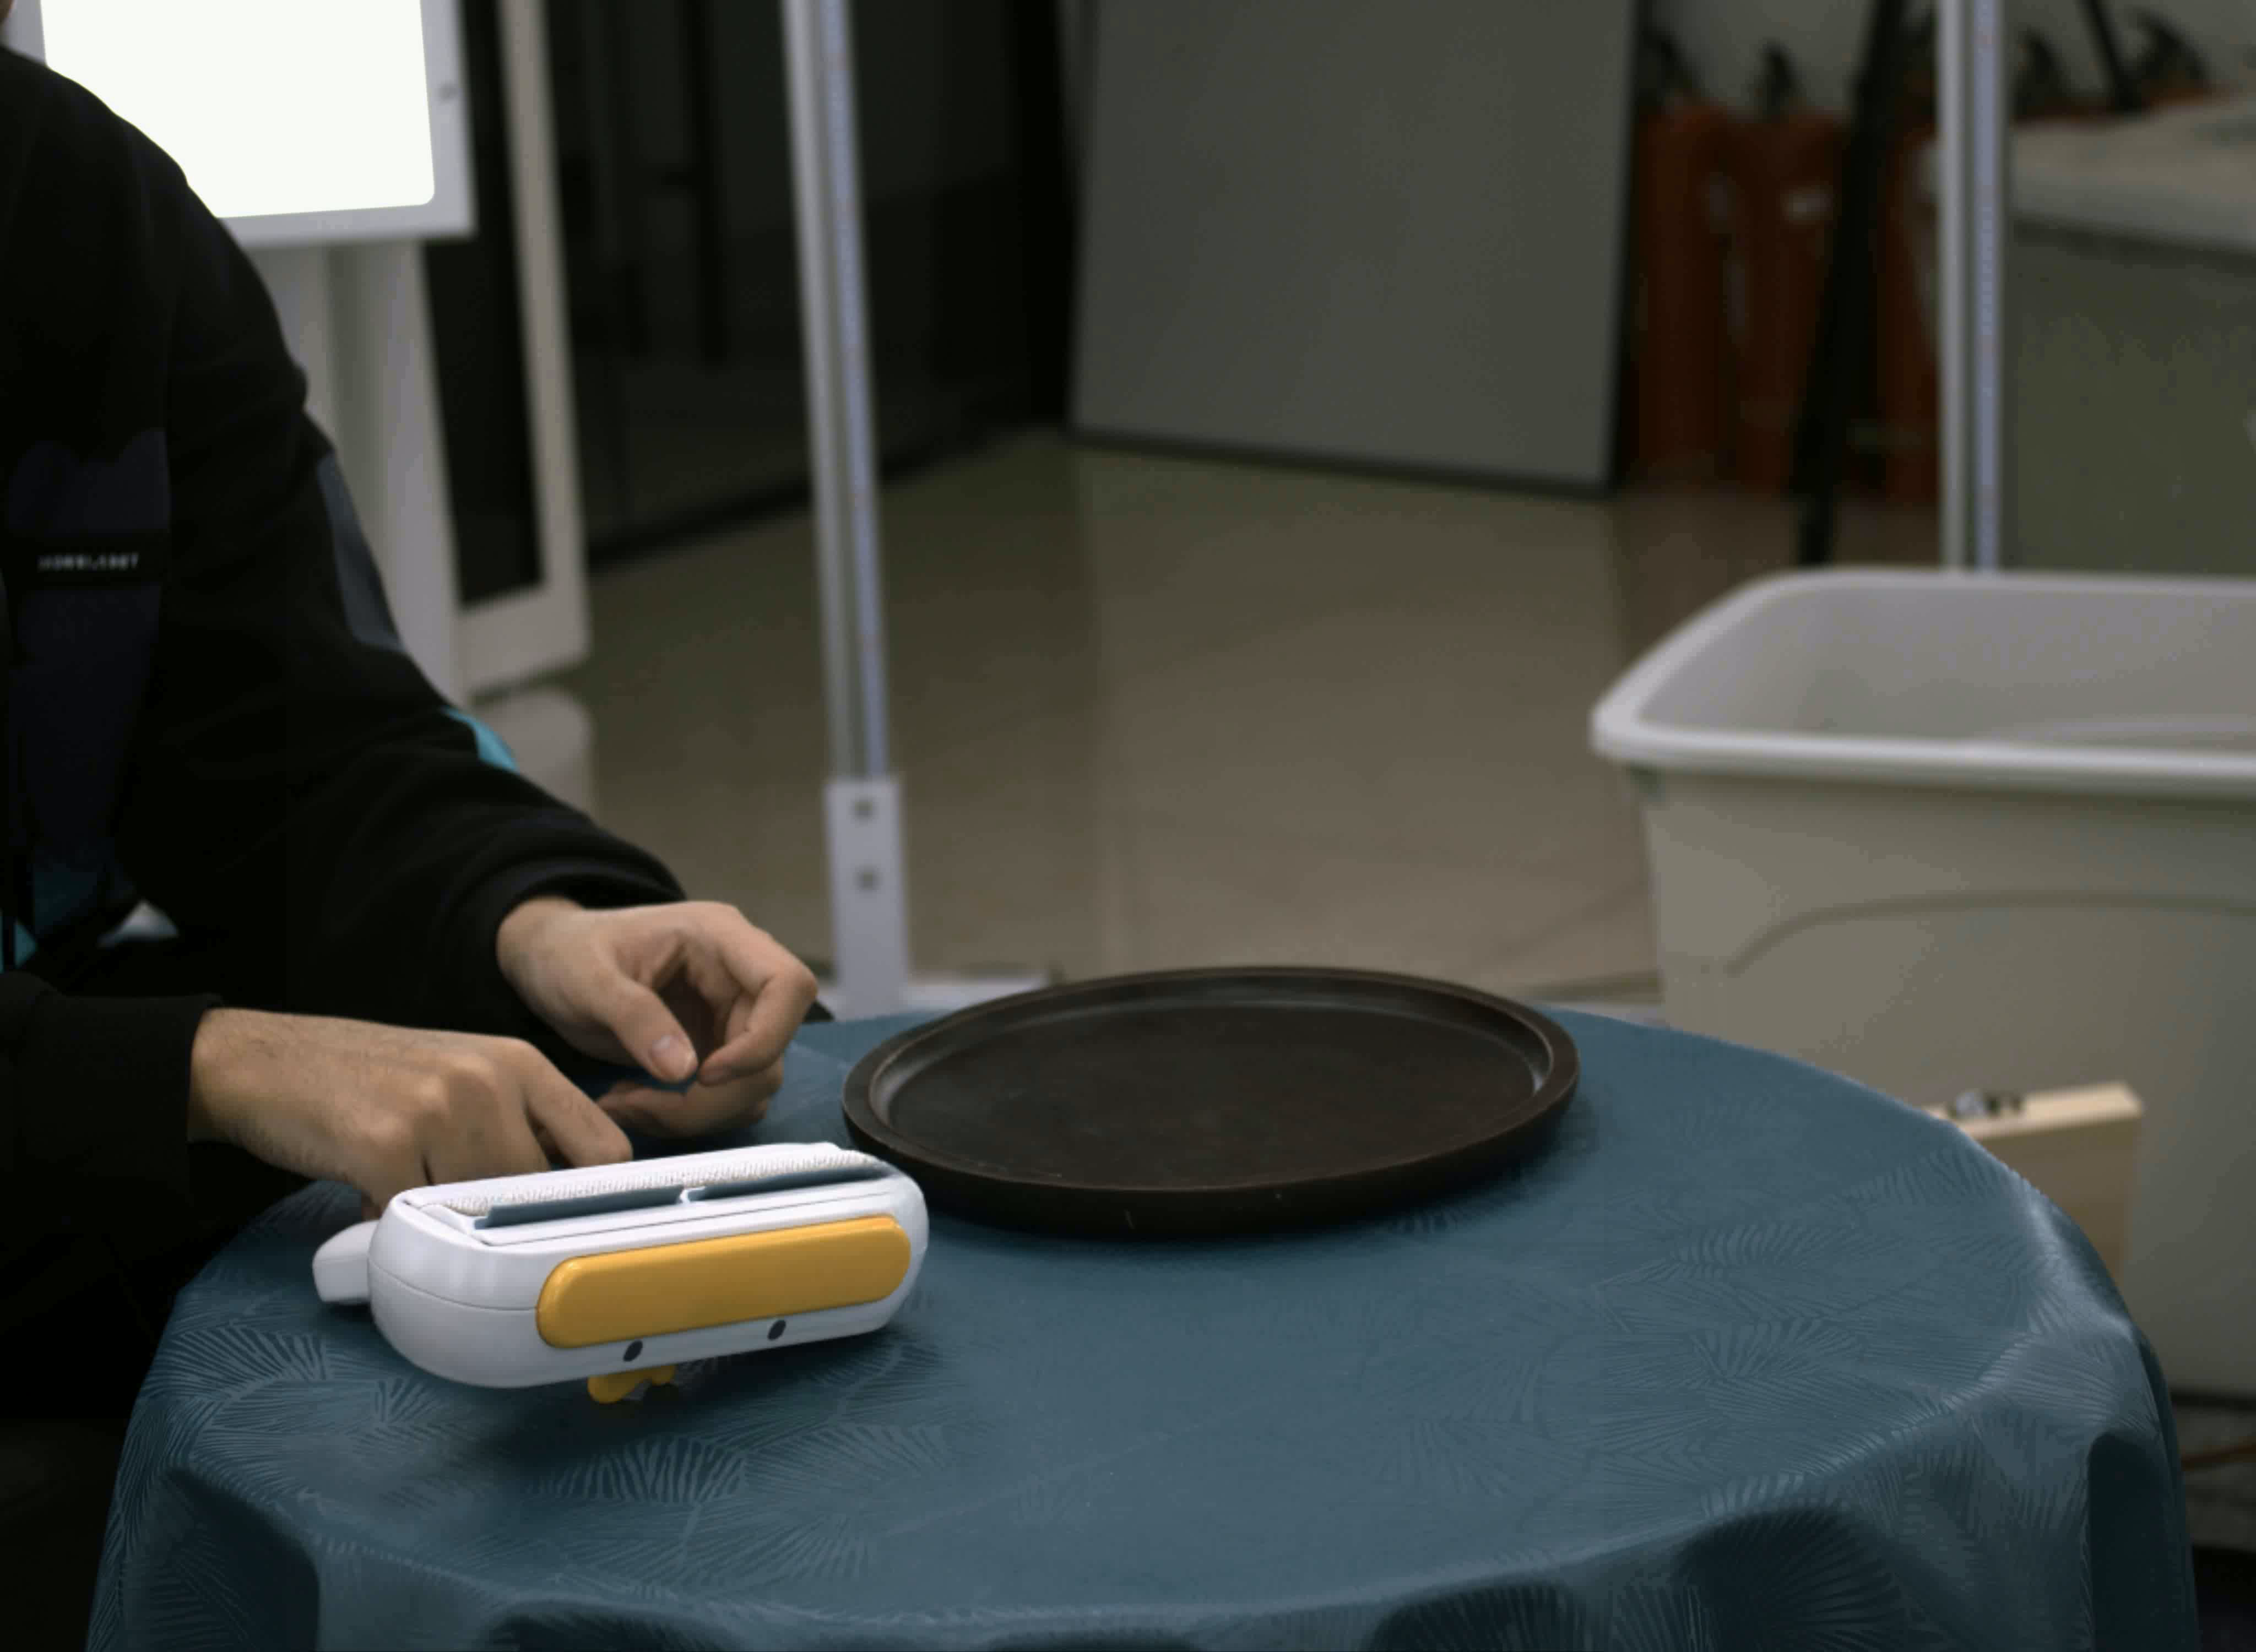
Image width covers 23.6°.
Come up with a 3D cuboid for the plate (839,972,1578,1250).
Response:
[{"bbox_3d":[0.028,0.094,1.825,0.251,0.029,0.255,-5,14,0],"label":"plate"}]

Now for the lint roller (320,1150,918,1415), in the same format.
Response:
[{"bbox_3d":[-0.184,0.131,1.646,0.188,0.075,0.194,-9,12,-40],"label":"lint roller"}]
